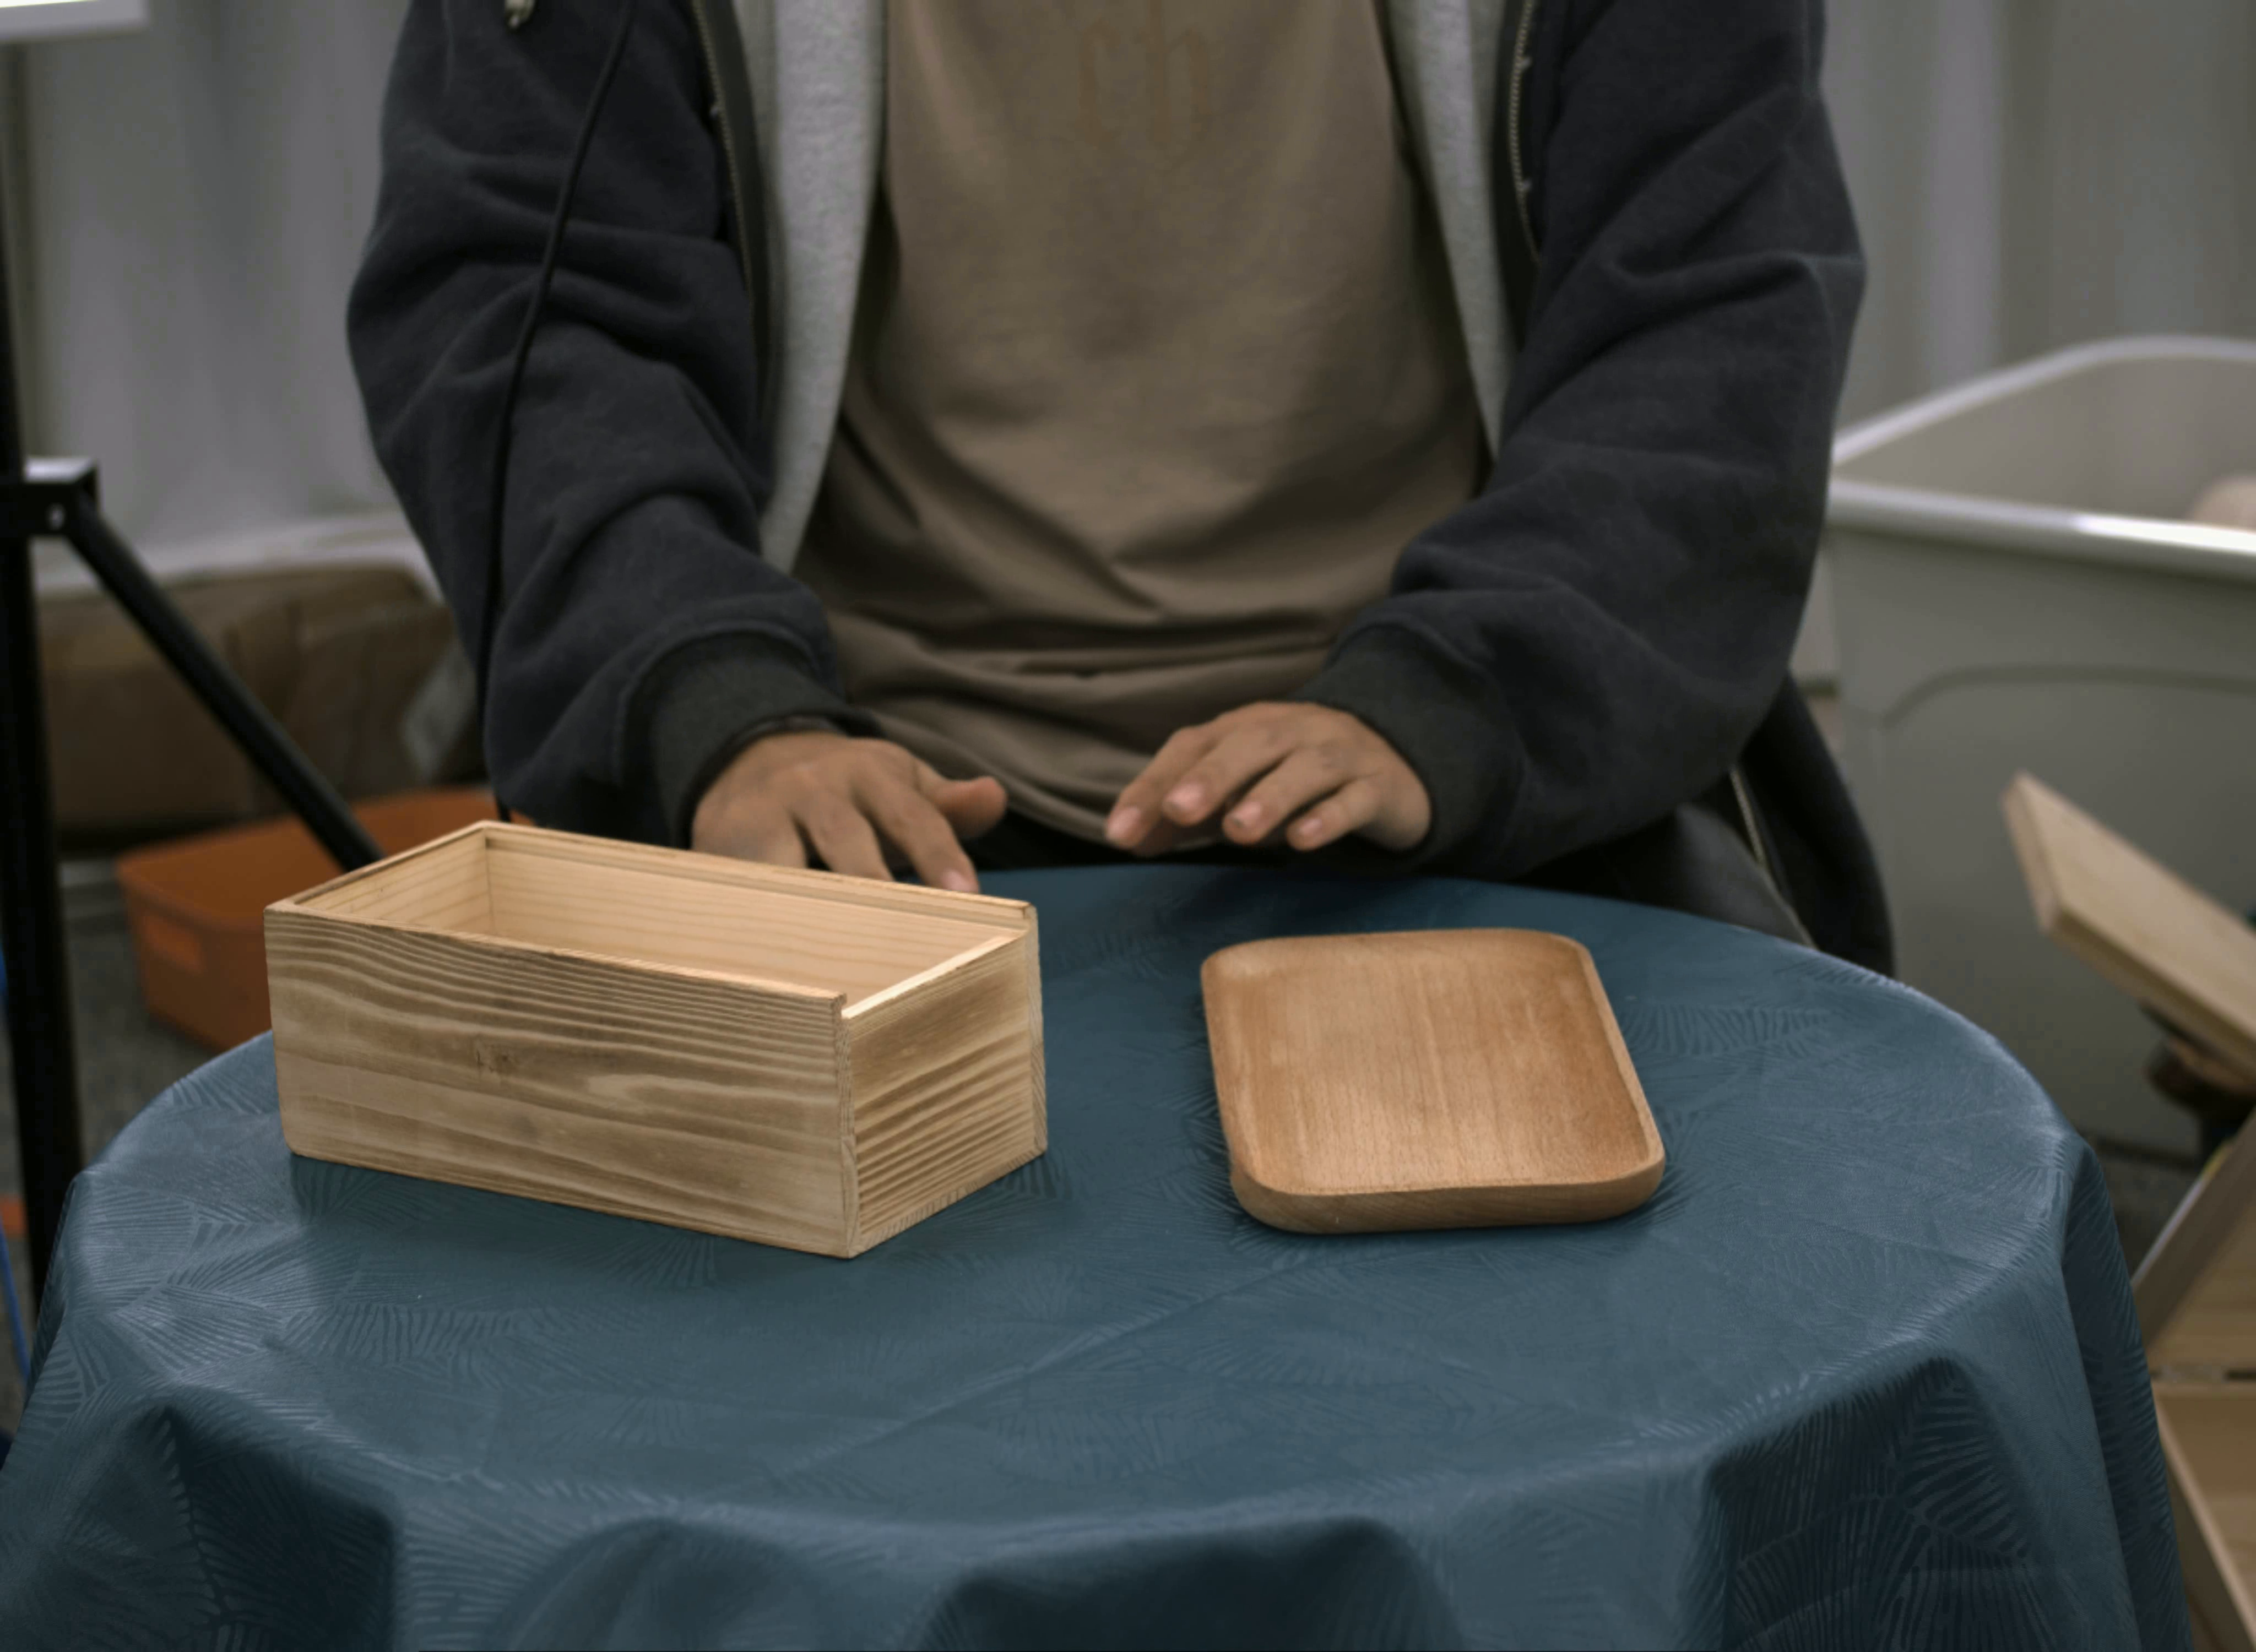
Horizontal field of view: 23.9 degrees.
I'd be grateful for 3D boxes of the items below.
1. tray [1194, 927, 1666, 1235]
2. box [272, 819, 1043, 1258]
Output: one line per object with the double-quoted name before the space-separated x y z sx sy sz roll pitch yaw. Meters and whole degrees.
"tray" 0.089 0.076 1.628 0.130 0.023 0.252 0 15 -1
"box" -0.142 0.061 1.606 0.215 0.080 0.105 8 18 33
